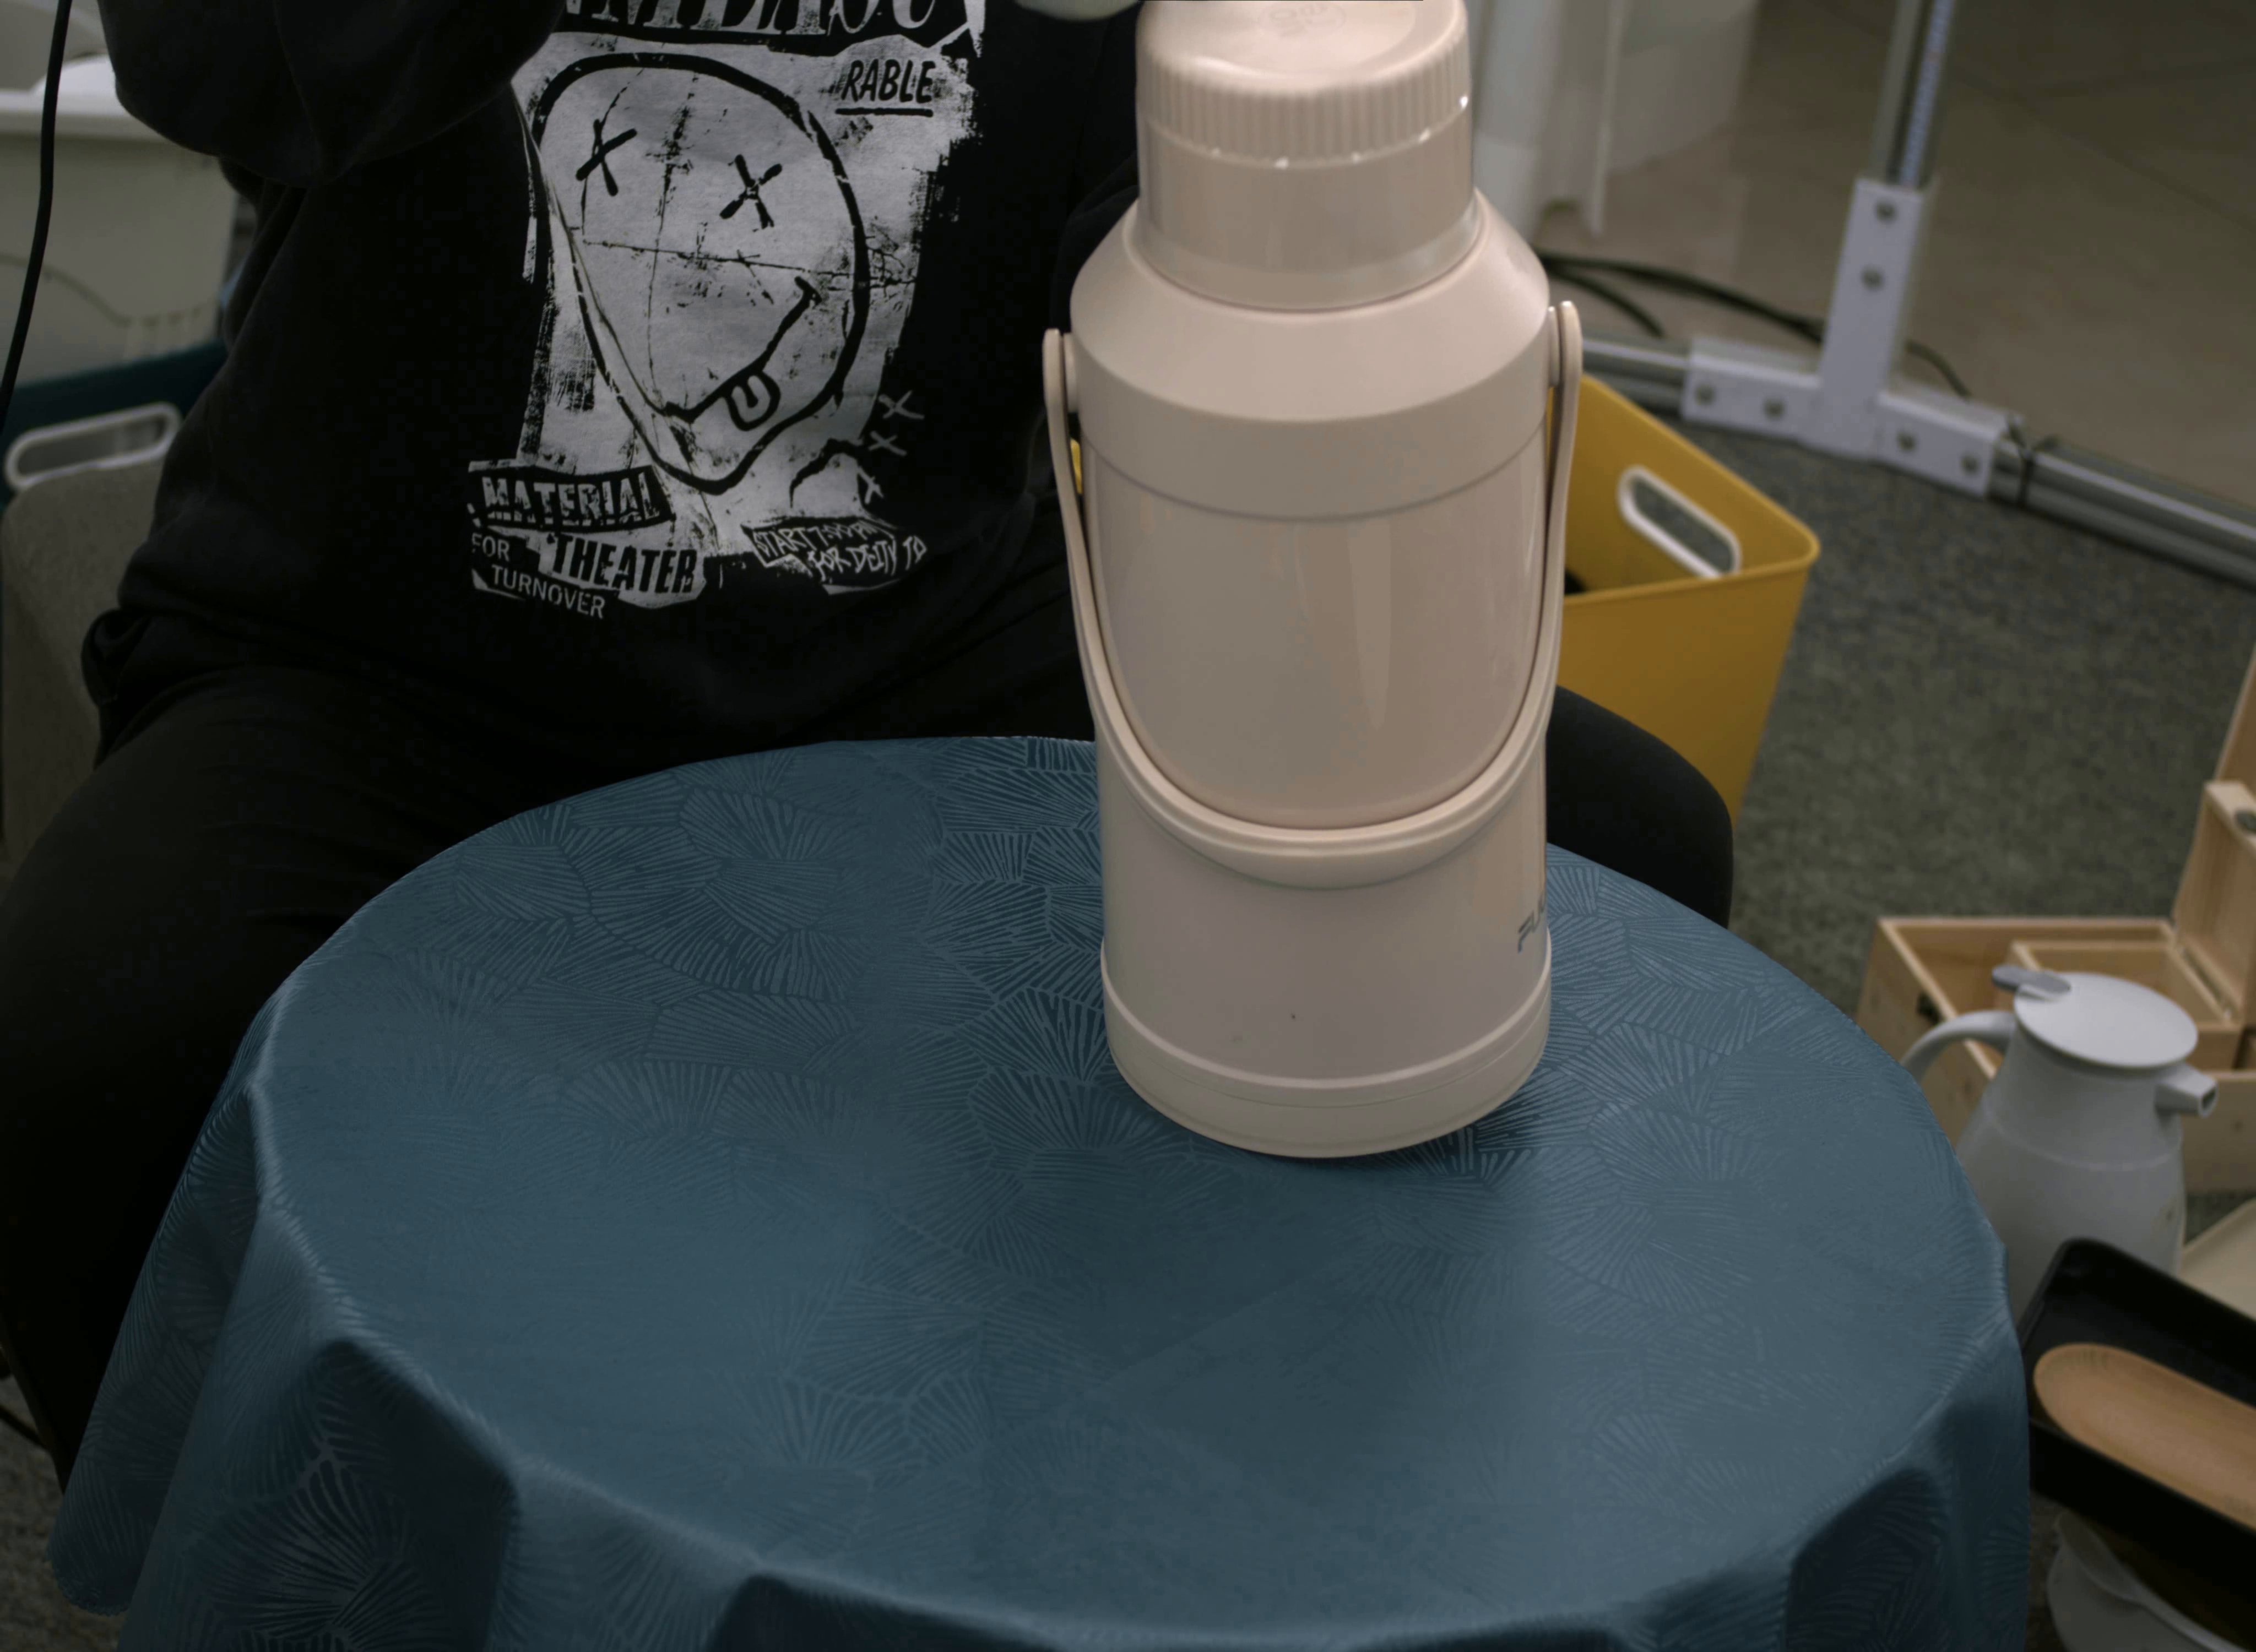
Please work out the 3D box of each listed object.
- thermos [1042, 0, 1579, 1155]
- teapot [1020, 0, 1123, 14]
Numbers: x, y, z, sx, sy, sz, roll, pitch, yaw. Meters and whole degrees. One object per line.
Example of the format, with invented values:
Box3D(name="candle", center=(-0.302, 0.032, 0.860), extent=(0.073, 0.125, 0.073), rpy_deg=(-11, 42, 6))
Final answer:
Box3D(name="thermos", center=(0.063, -0.101, 1.796), extent=(0.175, 0.404, 0.208), rpy_deg=(-5, 35, 0))
Box3D(name="teapot", center=(-0.031, -0.303, 1.656), extent=(0.059, 0.127, 0.092), rpy_deg=(-33, 26, 14))
